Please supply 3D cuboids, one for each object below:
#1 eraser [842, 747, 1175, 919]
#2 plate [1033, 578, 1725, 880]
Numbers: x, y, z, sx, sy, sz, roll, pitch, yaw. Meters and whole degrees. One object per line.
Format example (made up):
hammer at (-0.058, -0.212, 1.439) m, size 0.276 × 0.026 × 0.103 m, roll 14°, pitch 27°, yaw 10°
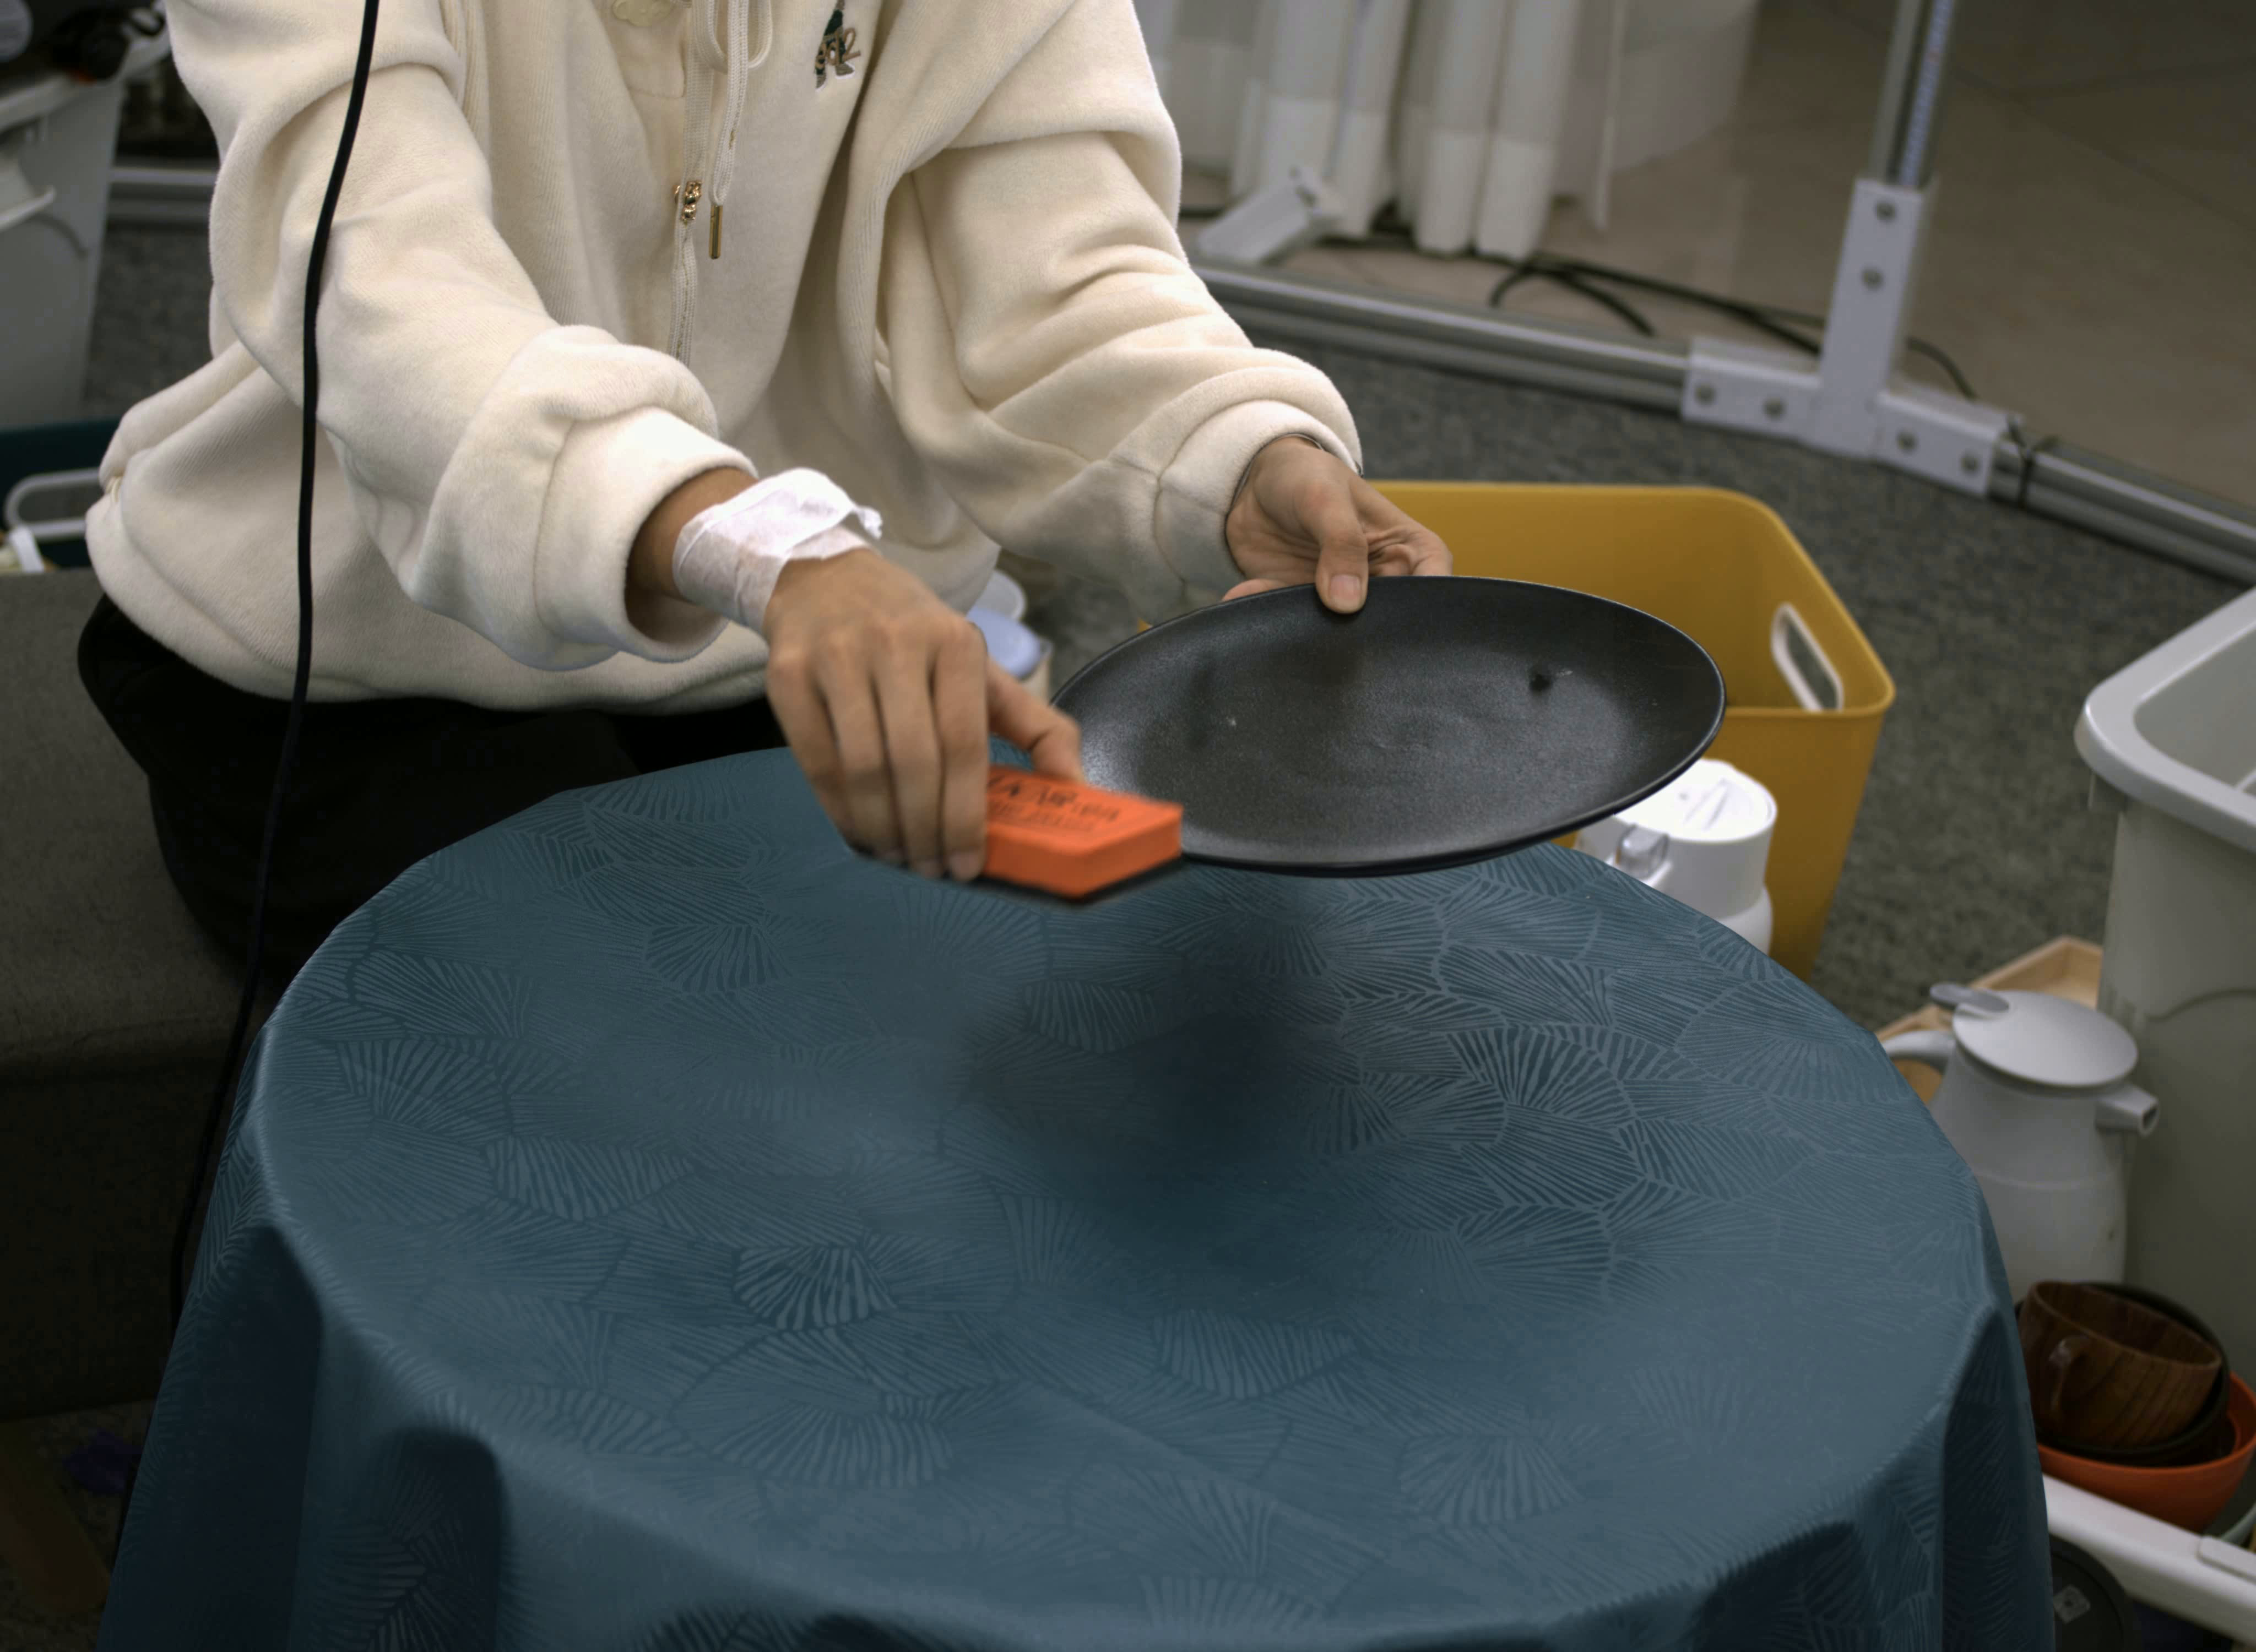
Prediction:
eraser at (-0.039, 0.001, 1.744) m, size 0.109 × 0.023 × 0.058 m, roll 18°, pitch 27°, yaw 39°
plate at (0.088, -0.031, 1.867) m, size 0.244 × 0.023 × 0.246 m, roll -6°, pitch 25°, yaw 2°
